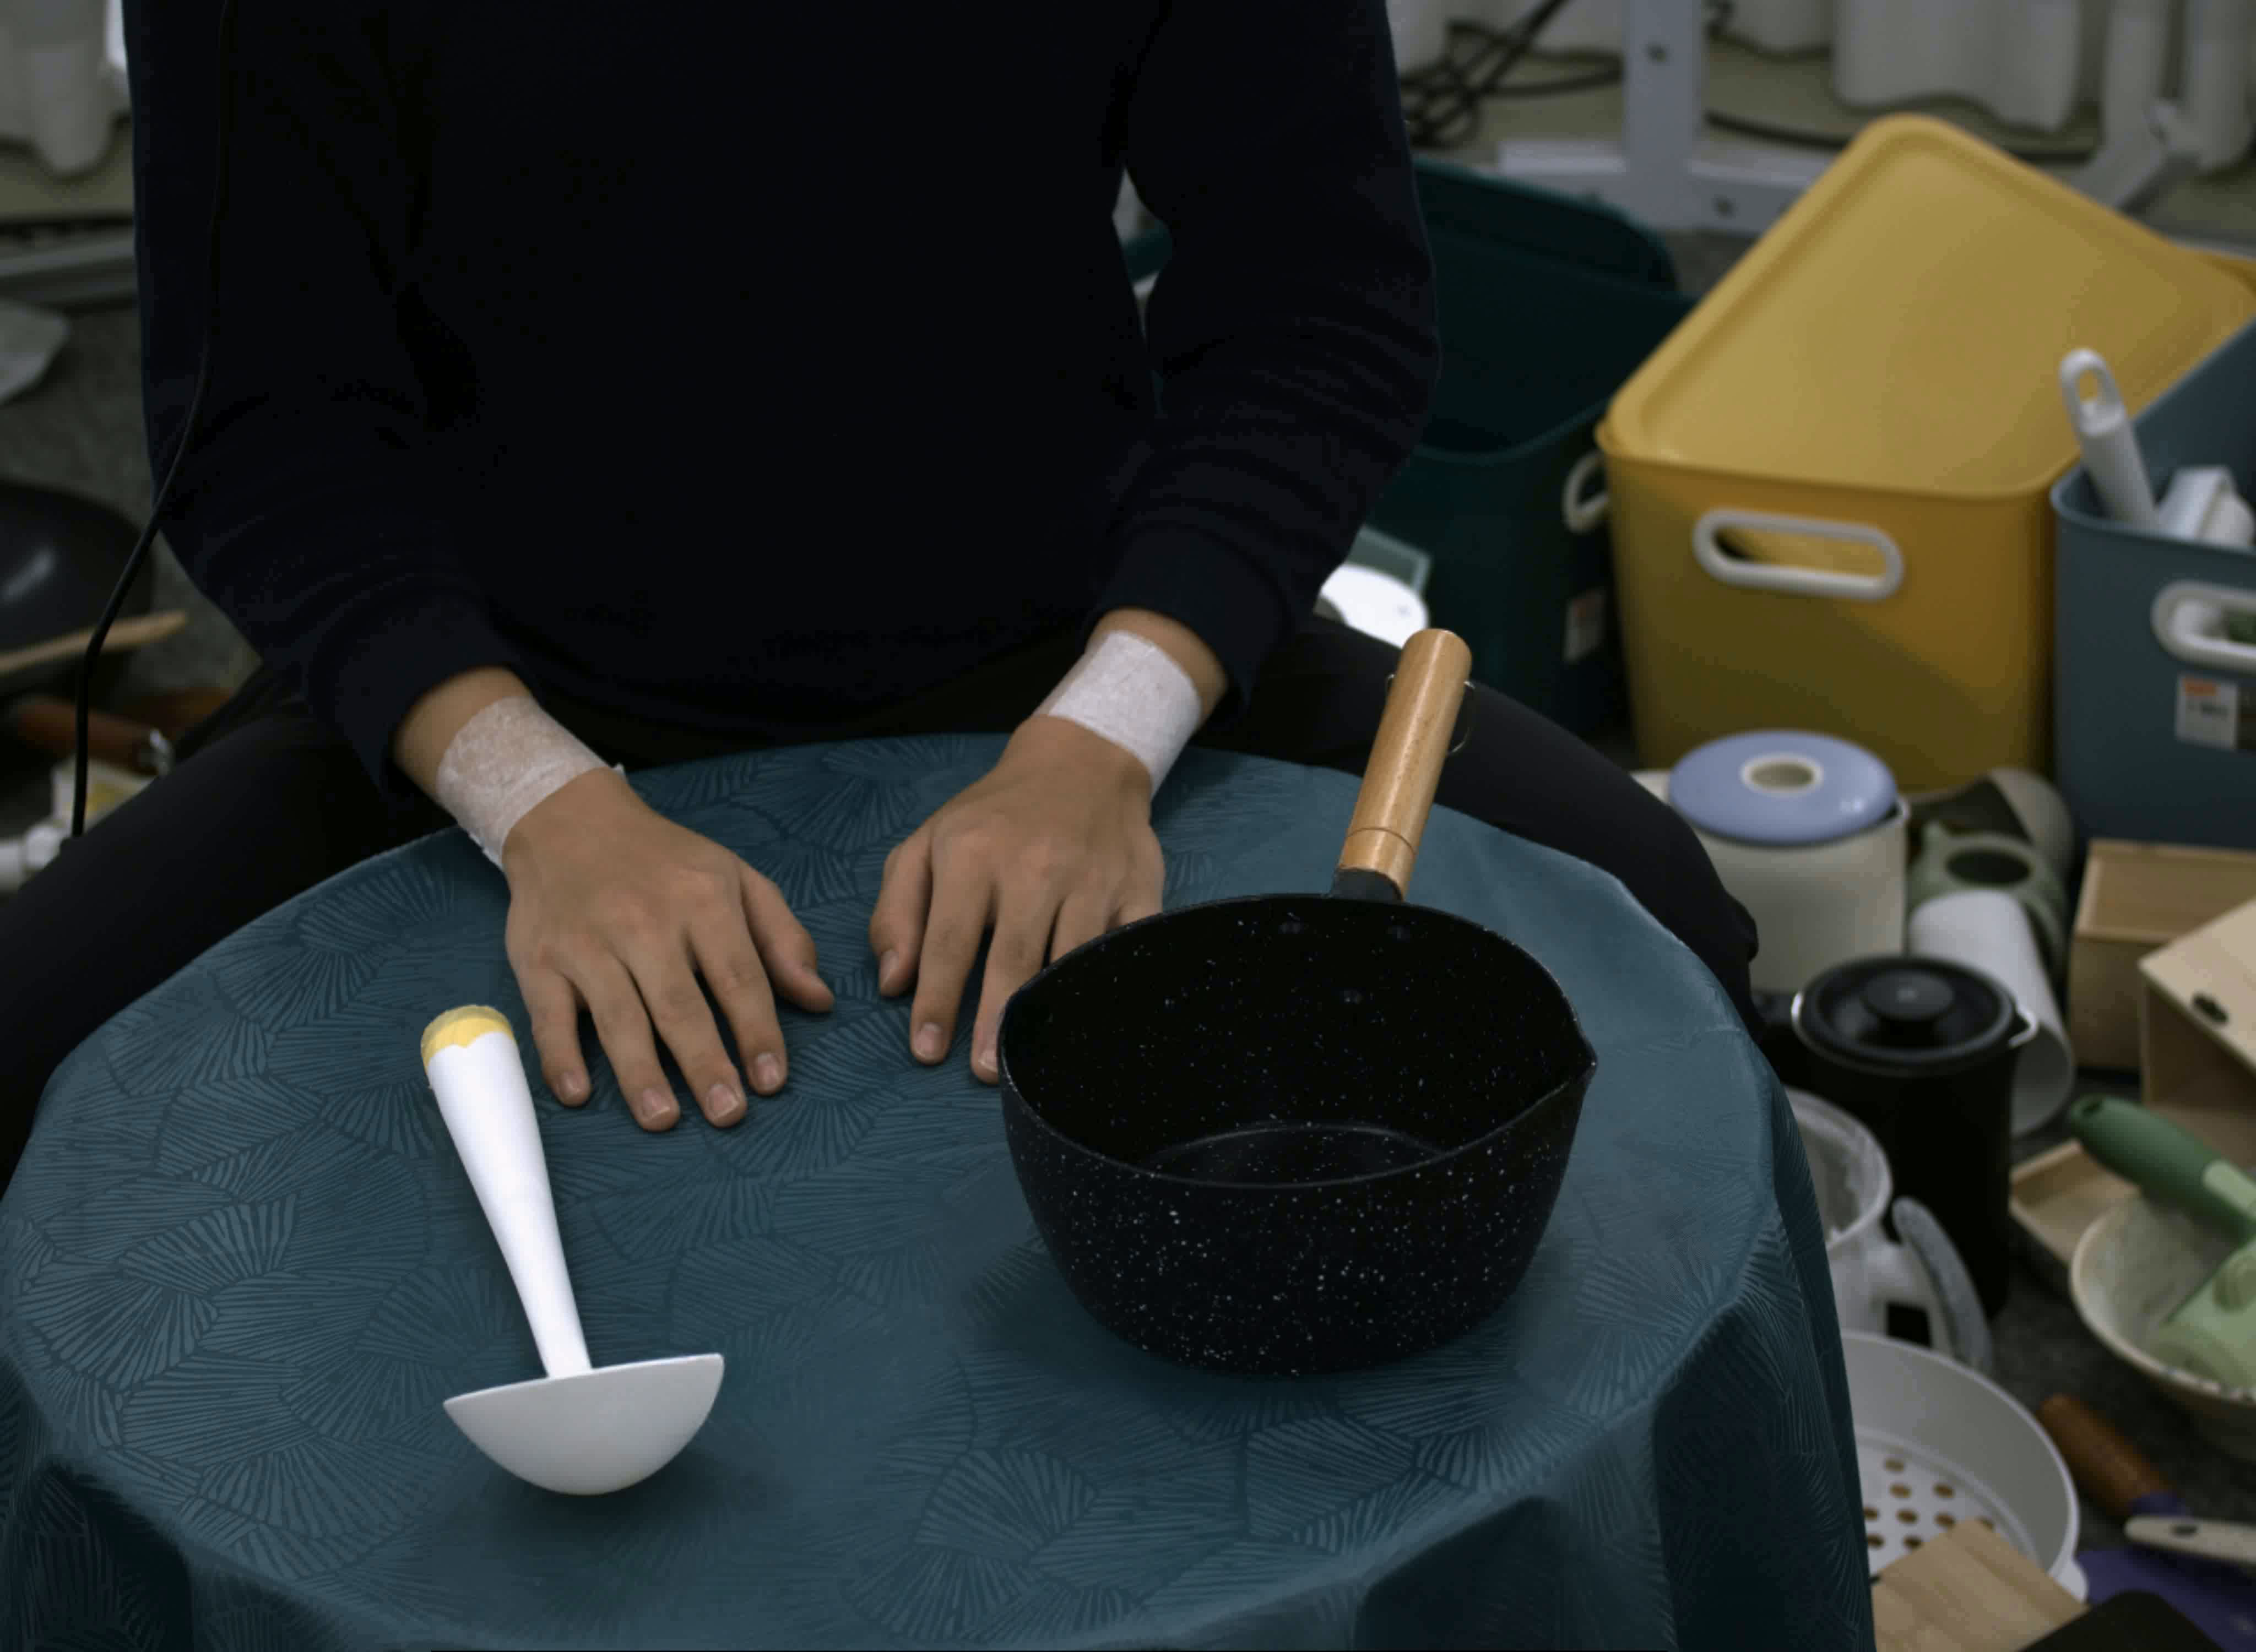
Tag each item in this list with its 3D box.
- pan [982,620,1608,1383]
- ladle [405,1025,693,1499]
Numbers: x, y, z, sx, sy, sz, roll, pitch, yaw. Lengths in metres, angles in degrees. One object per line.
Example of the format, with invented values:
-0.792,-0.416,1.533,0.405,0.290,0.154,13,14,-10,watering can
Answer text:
0.070,0.055,1.868,0.206,0.107,0.349,3,29,13,pan
-0.199,0.128,1.802,0.090,0.069,0.296,-14,28,-7,ladle
